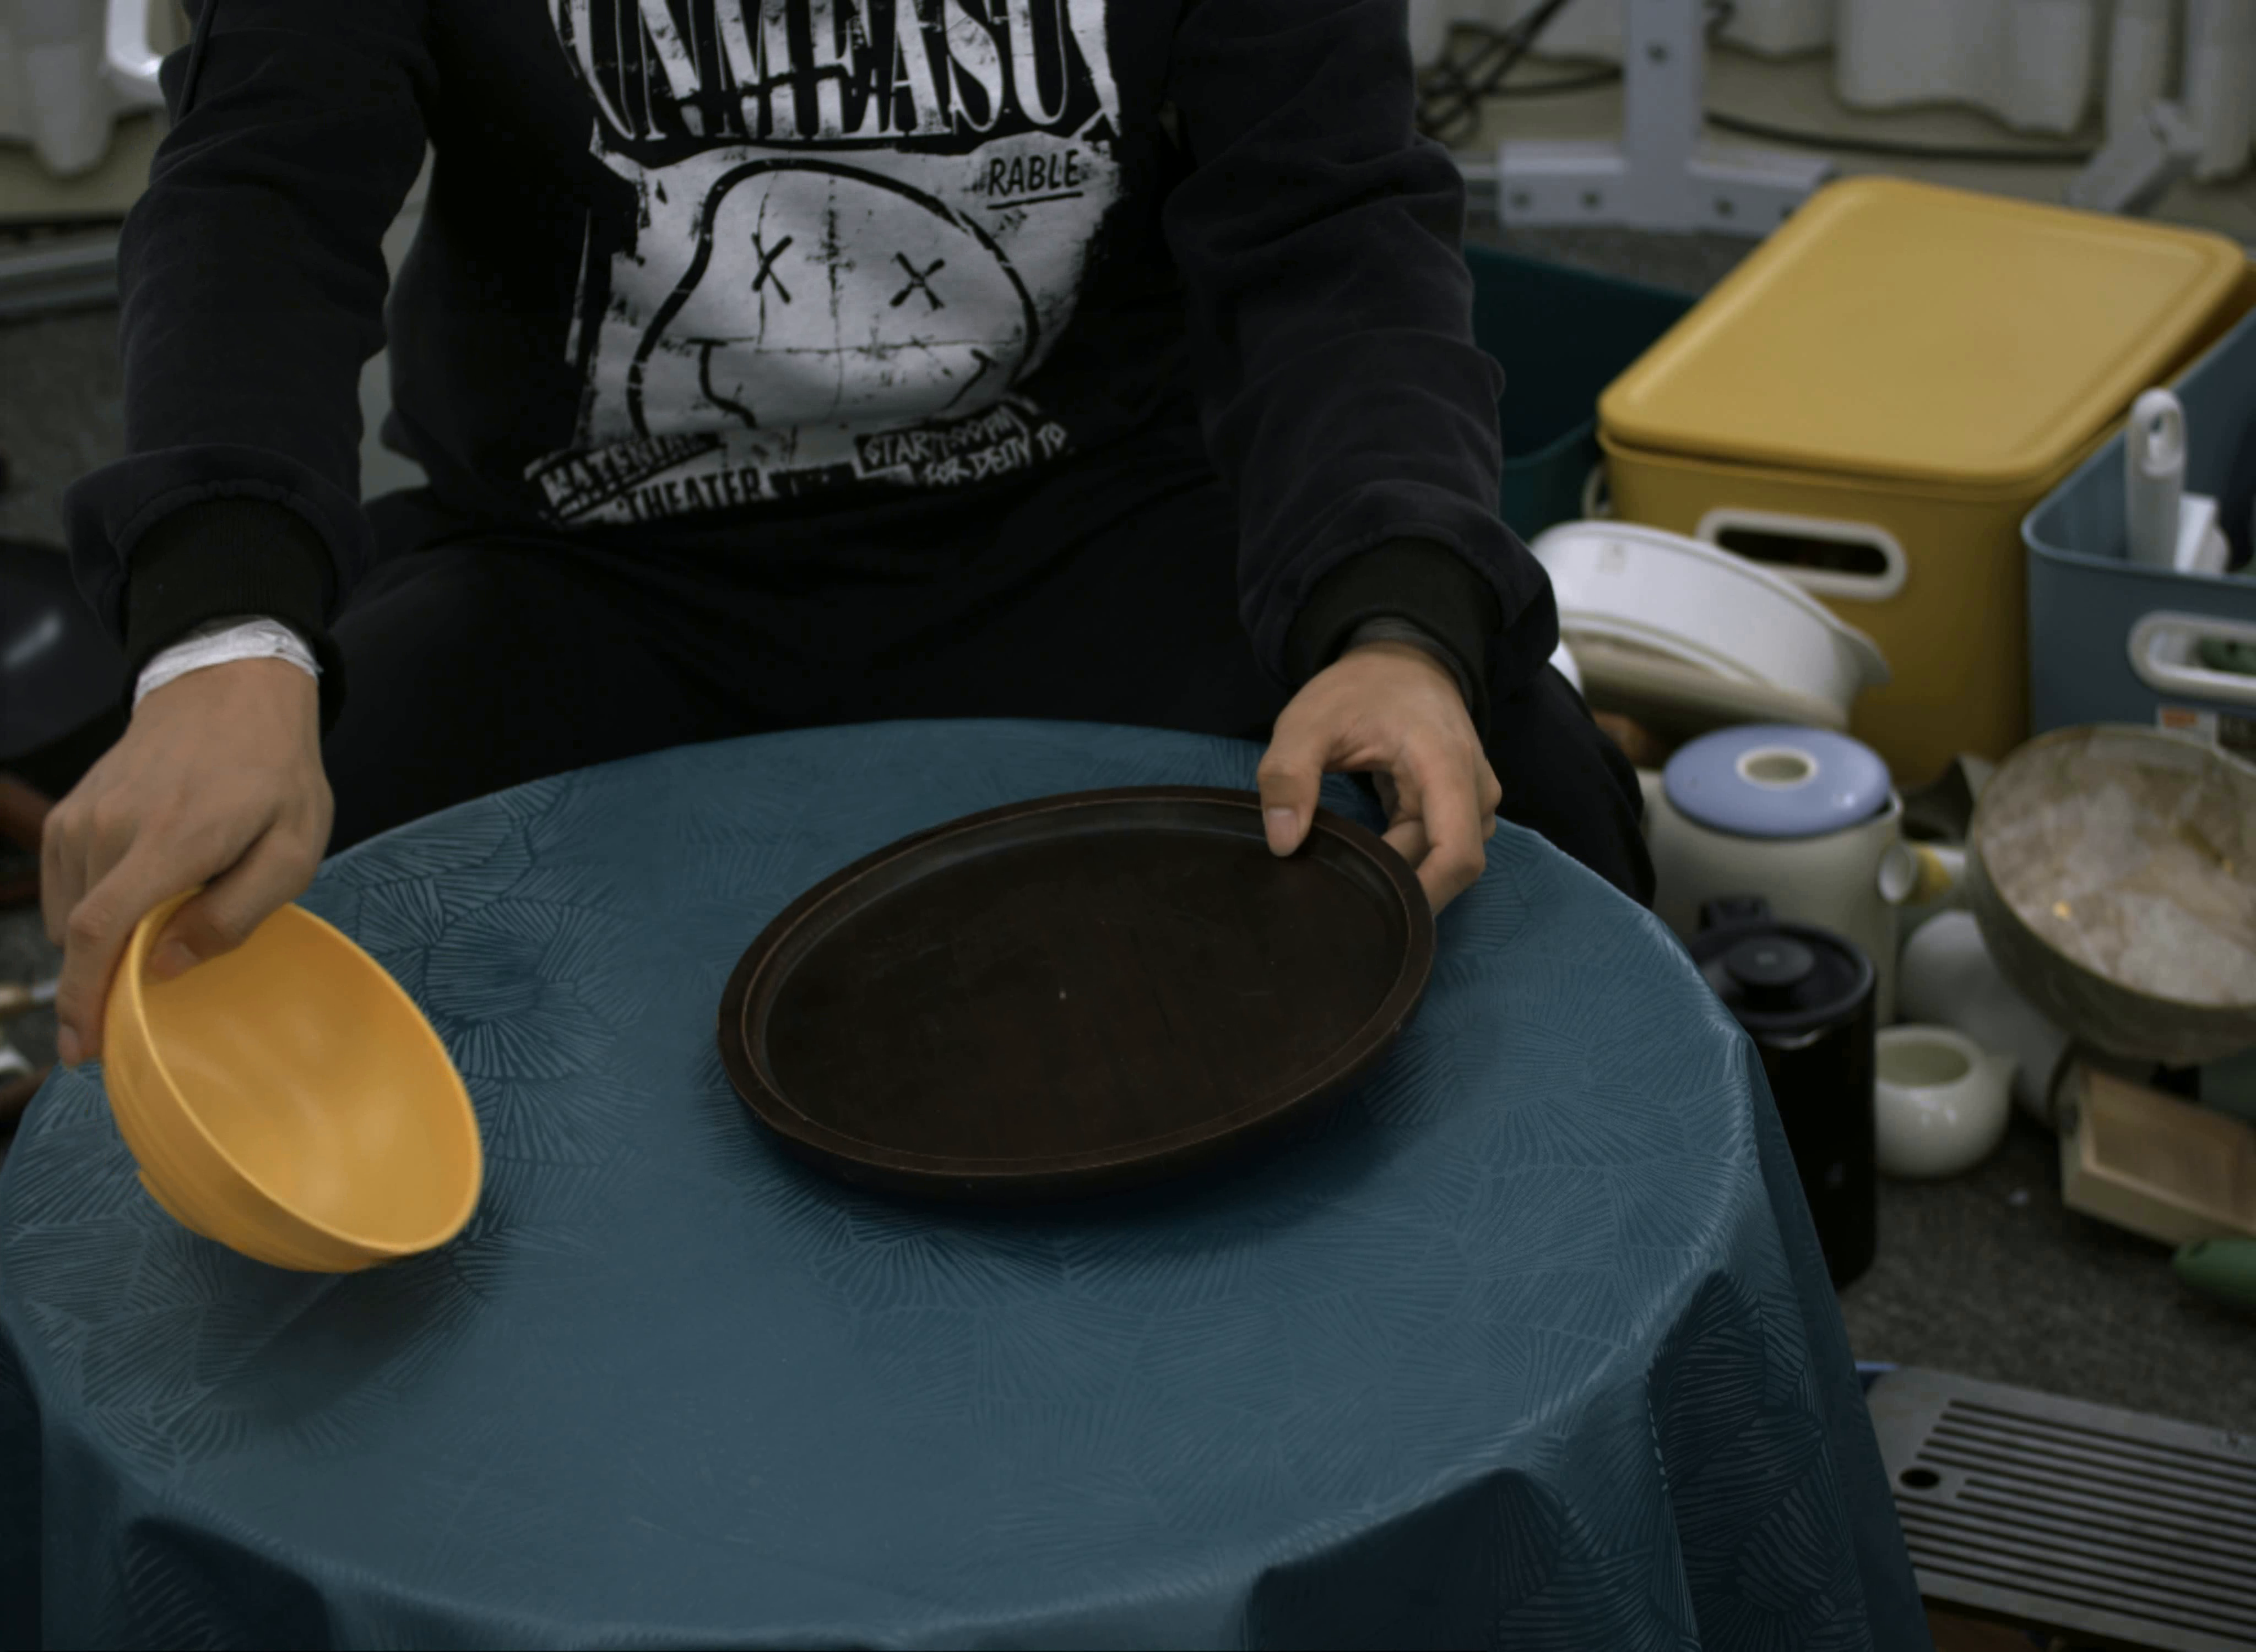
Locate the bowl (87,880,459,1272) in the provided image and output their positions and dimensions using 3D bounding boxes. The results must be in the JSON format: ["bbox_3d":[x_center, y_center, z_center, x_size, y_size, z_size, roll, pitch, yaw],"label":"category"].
[{"bbox_3d":[-0.288,0.094,1.820,0.059,0.144,0.147,-39,18,21],"label":"bowl"}]

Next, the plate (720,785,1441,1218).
[{"bbox_3d":[-0.016,0.059,1.937,0.253,0.029,0.259,-9,28,5],"label":"plate"}]
